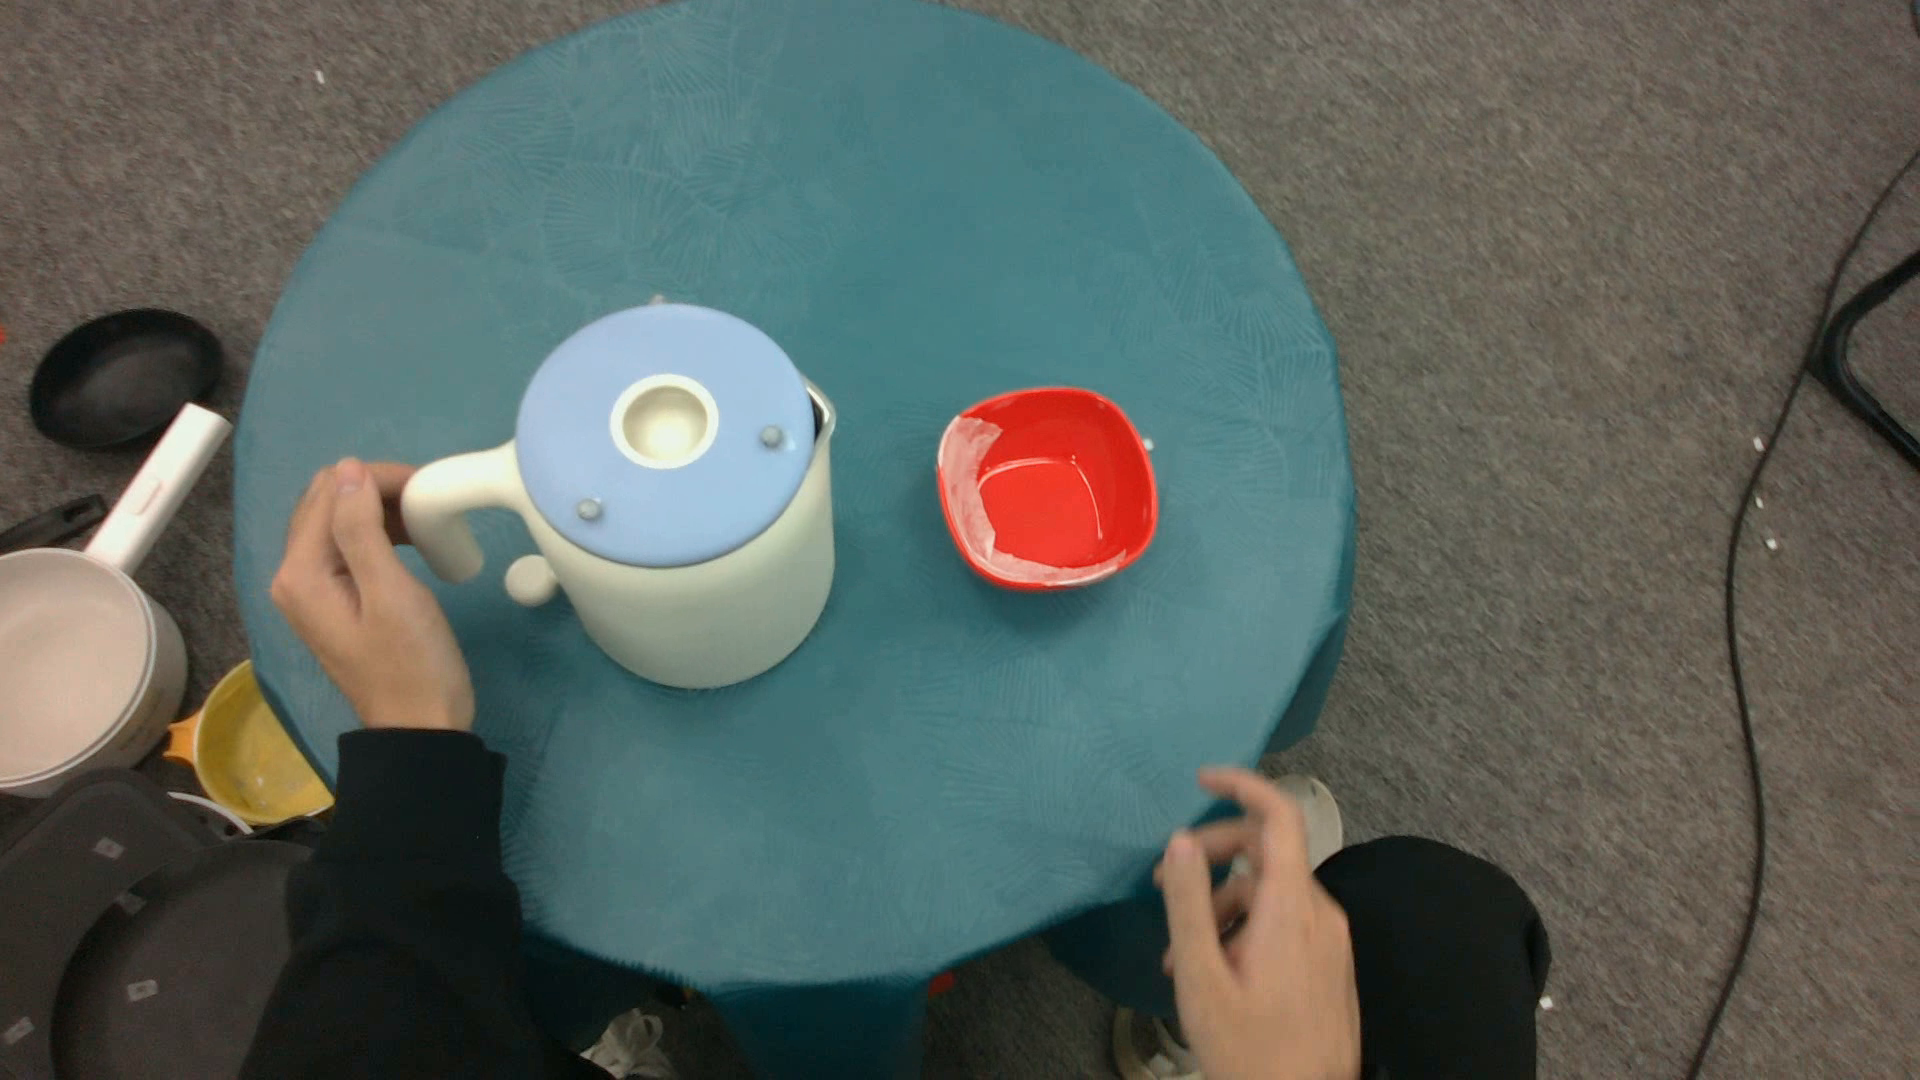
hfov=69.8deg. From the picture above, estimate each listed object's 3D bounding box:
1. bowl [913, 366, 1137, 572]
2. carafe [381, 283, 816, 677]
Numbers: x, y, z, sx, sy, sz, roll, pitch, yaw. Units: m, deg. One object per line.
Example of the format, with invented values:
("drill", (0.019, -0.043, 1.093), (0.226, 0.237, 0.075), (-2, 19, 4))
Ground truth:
("bowl", (0.030, -0.029, 0.710), (0.119, 0.051, 0.119), (3, 66, -6))
("carafe", (-0.157, -0.017, 0.624), (0.191, 0.182, 0.132), (-11, 69, -7))
